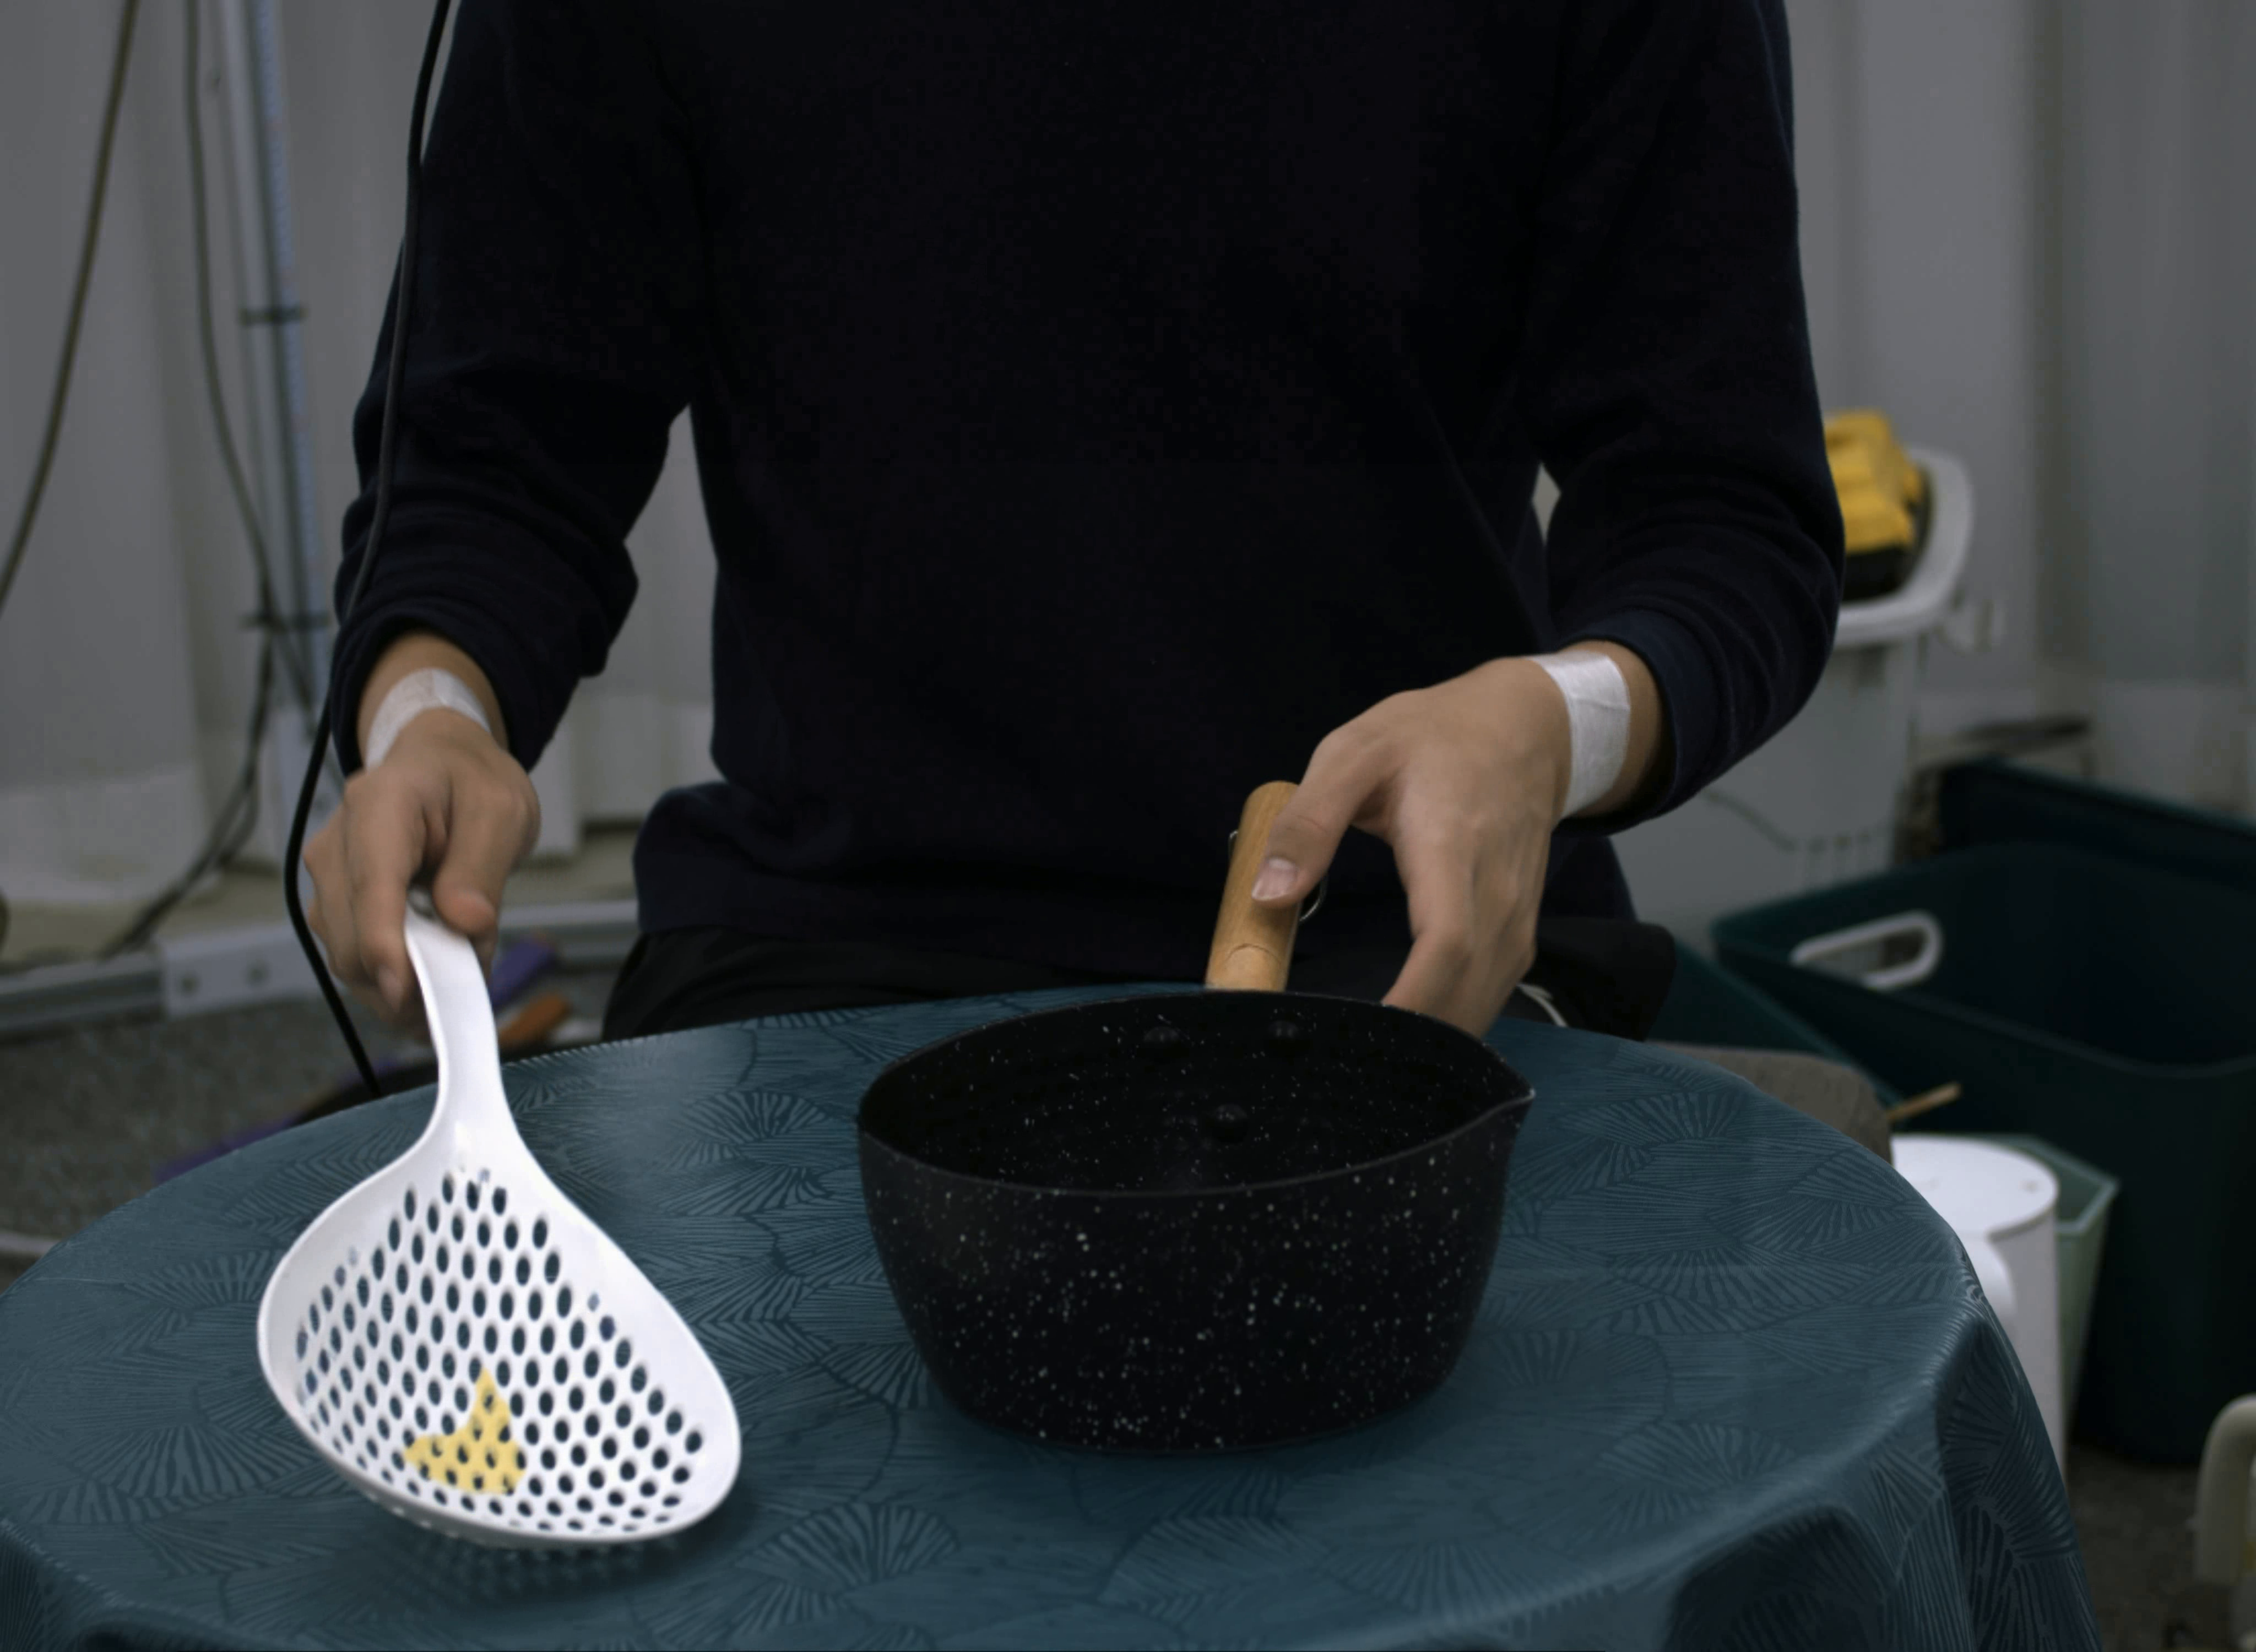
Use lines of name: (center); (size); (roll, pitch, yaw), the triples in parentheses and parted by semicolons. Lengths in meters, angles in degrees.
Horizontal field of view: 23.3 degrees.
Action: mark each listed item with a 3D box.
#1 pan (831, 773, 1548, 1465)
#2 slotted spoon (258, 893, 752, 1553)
pan: (0.027, 0.082, 1.627); (0.207, 0.108, 0.345); (-2, 16, 8)
slotted spoon: (-0.191, 0.102, 1.565); (0.136, 0.050, 0.353); (12, 30, -19)
